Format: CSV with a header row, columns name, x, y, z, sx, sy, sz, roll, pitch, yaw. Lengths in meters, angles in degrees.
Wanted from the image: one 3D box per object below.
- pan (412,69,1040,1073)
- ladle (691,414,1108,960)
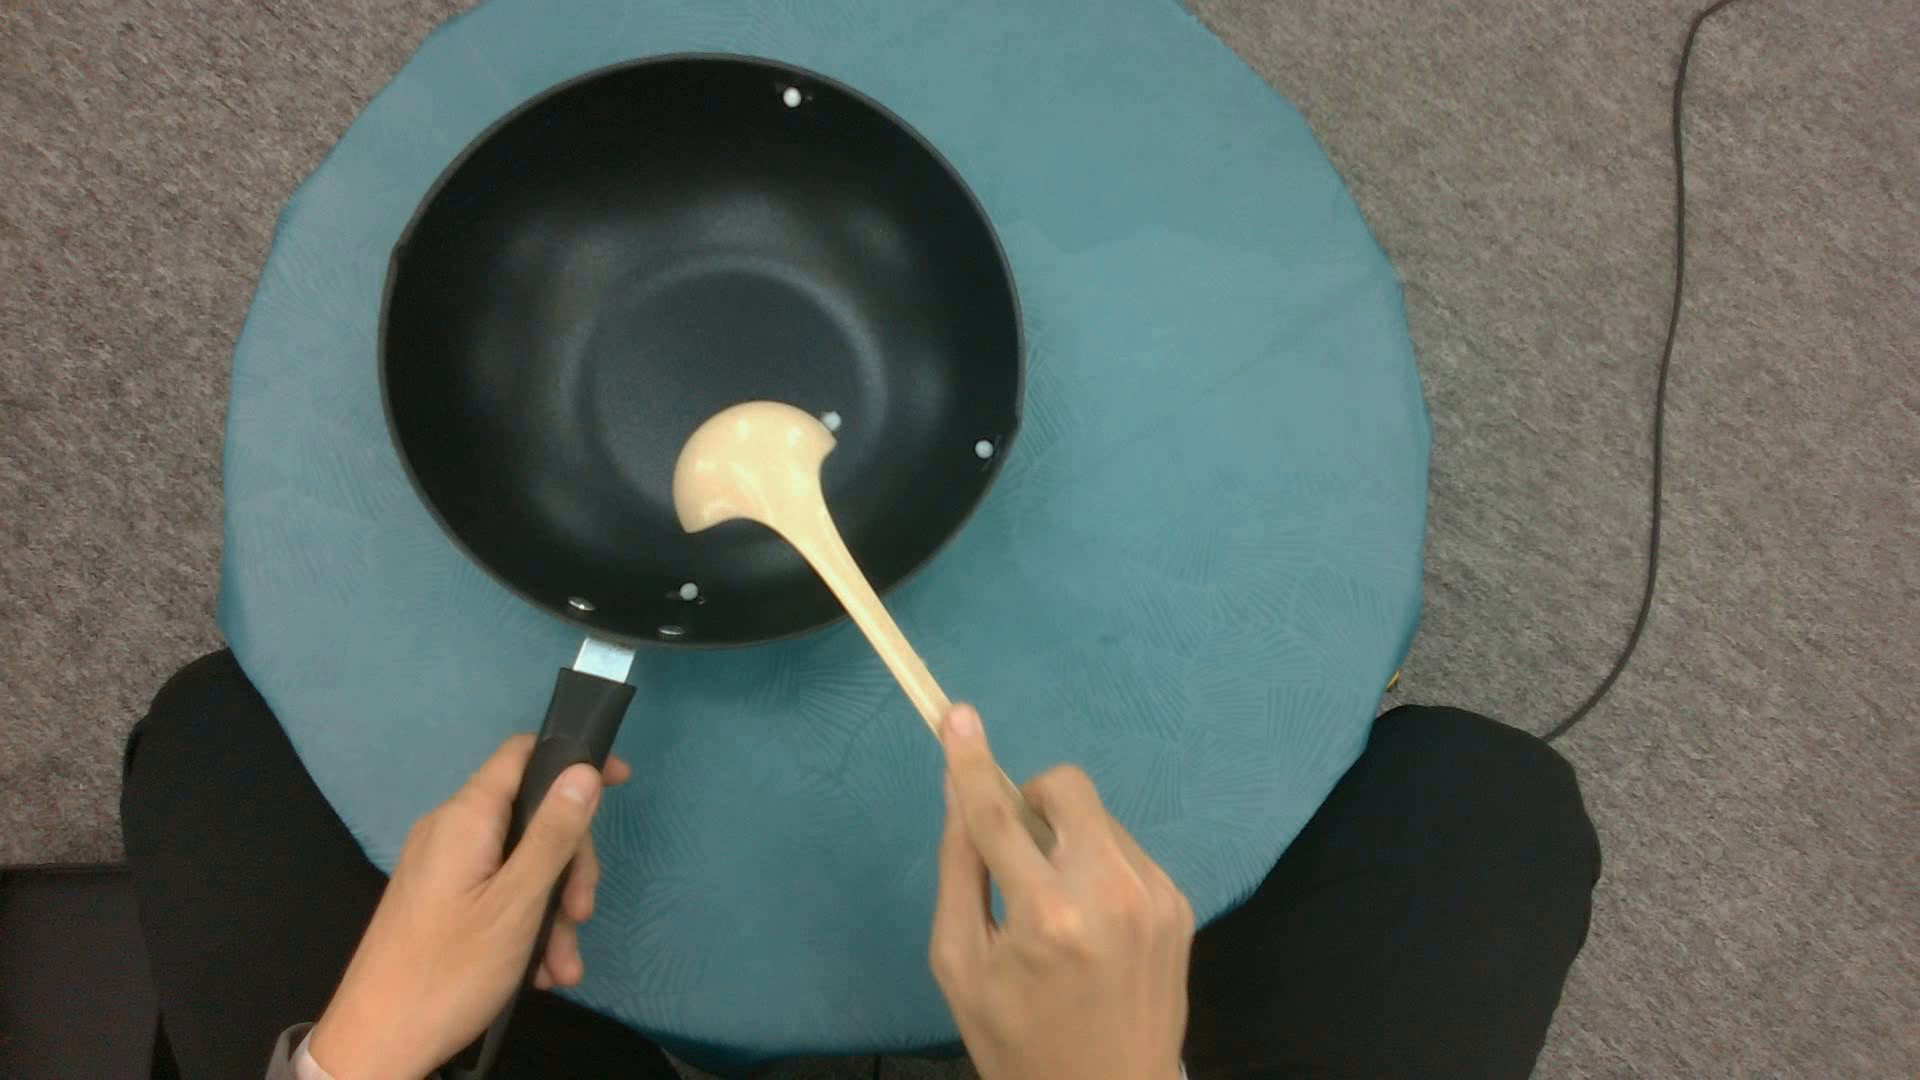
name,x,y,z,sx,sy,sz,roll,pitch,yaw
pan,-0.132,0.007,0.644,0.288,0.086,0.464,16,78,0
ladle,-0.024,0.060,0.562,0.072,0.072,0.254,-31,79,-17
